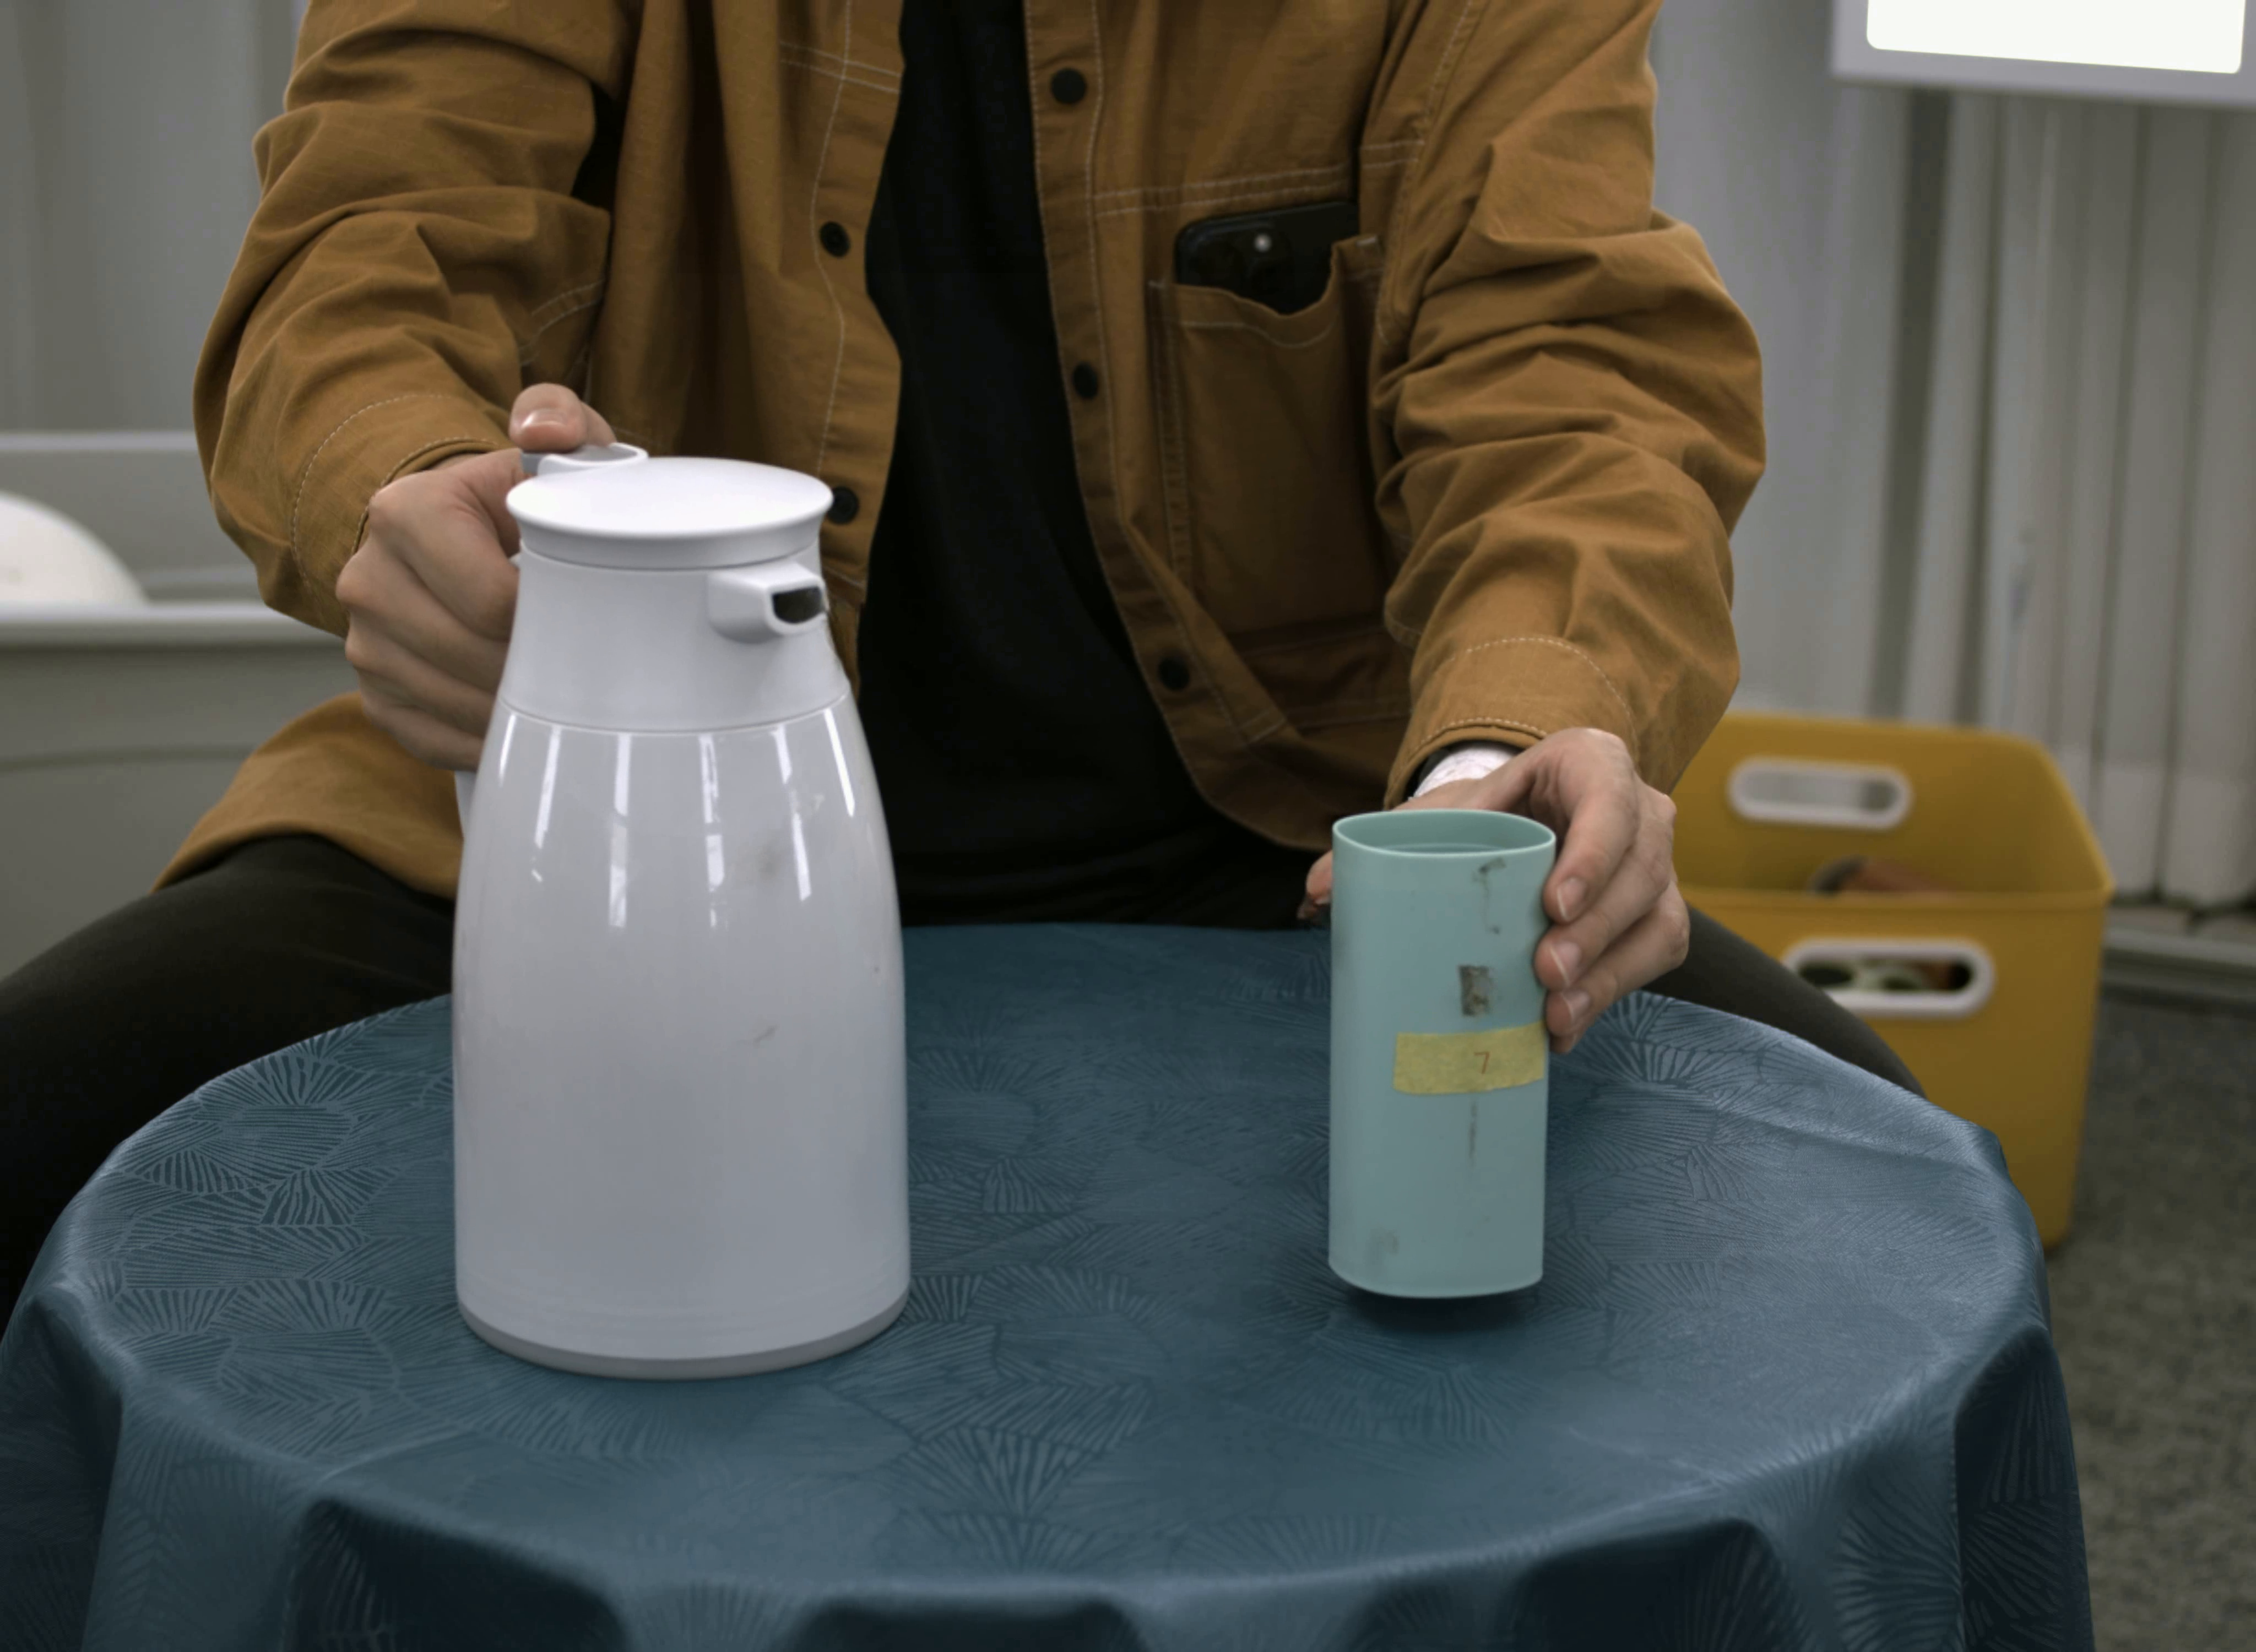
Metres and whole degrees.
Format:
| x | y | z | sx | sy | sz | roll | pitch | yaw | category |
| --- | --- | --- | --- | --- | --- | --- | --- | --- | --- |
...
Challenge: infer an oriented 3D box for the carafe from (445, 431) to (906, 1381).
| x | y | z | sx | sy | sz | roll | pitch | yaw | category |
| --- | --- | --- | --- | --- | --- | --- | --- | --- | --- |
| -0.142 | 0.014 | 1.504 | 0.133 | 0.251 | 0.165 | -14 | 21 | -38 | carafe |

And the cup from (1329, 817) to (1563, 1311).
| x | y | z | sx | sy | sz | roll | pitch | yaw | category |
| --- | --- | --- | --- | --- | --- | --- | --- | --- | --- |
| 0.090 | 0.067 | 1.516 | 0.066 | 0.133 | 0.066 | 1 | 13 | 0 | cup |
